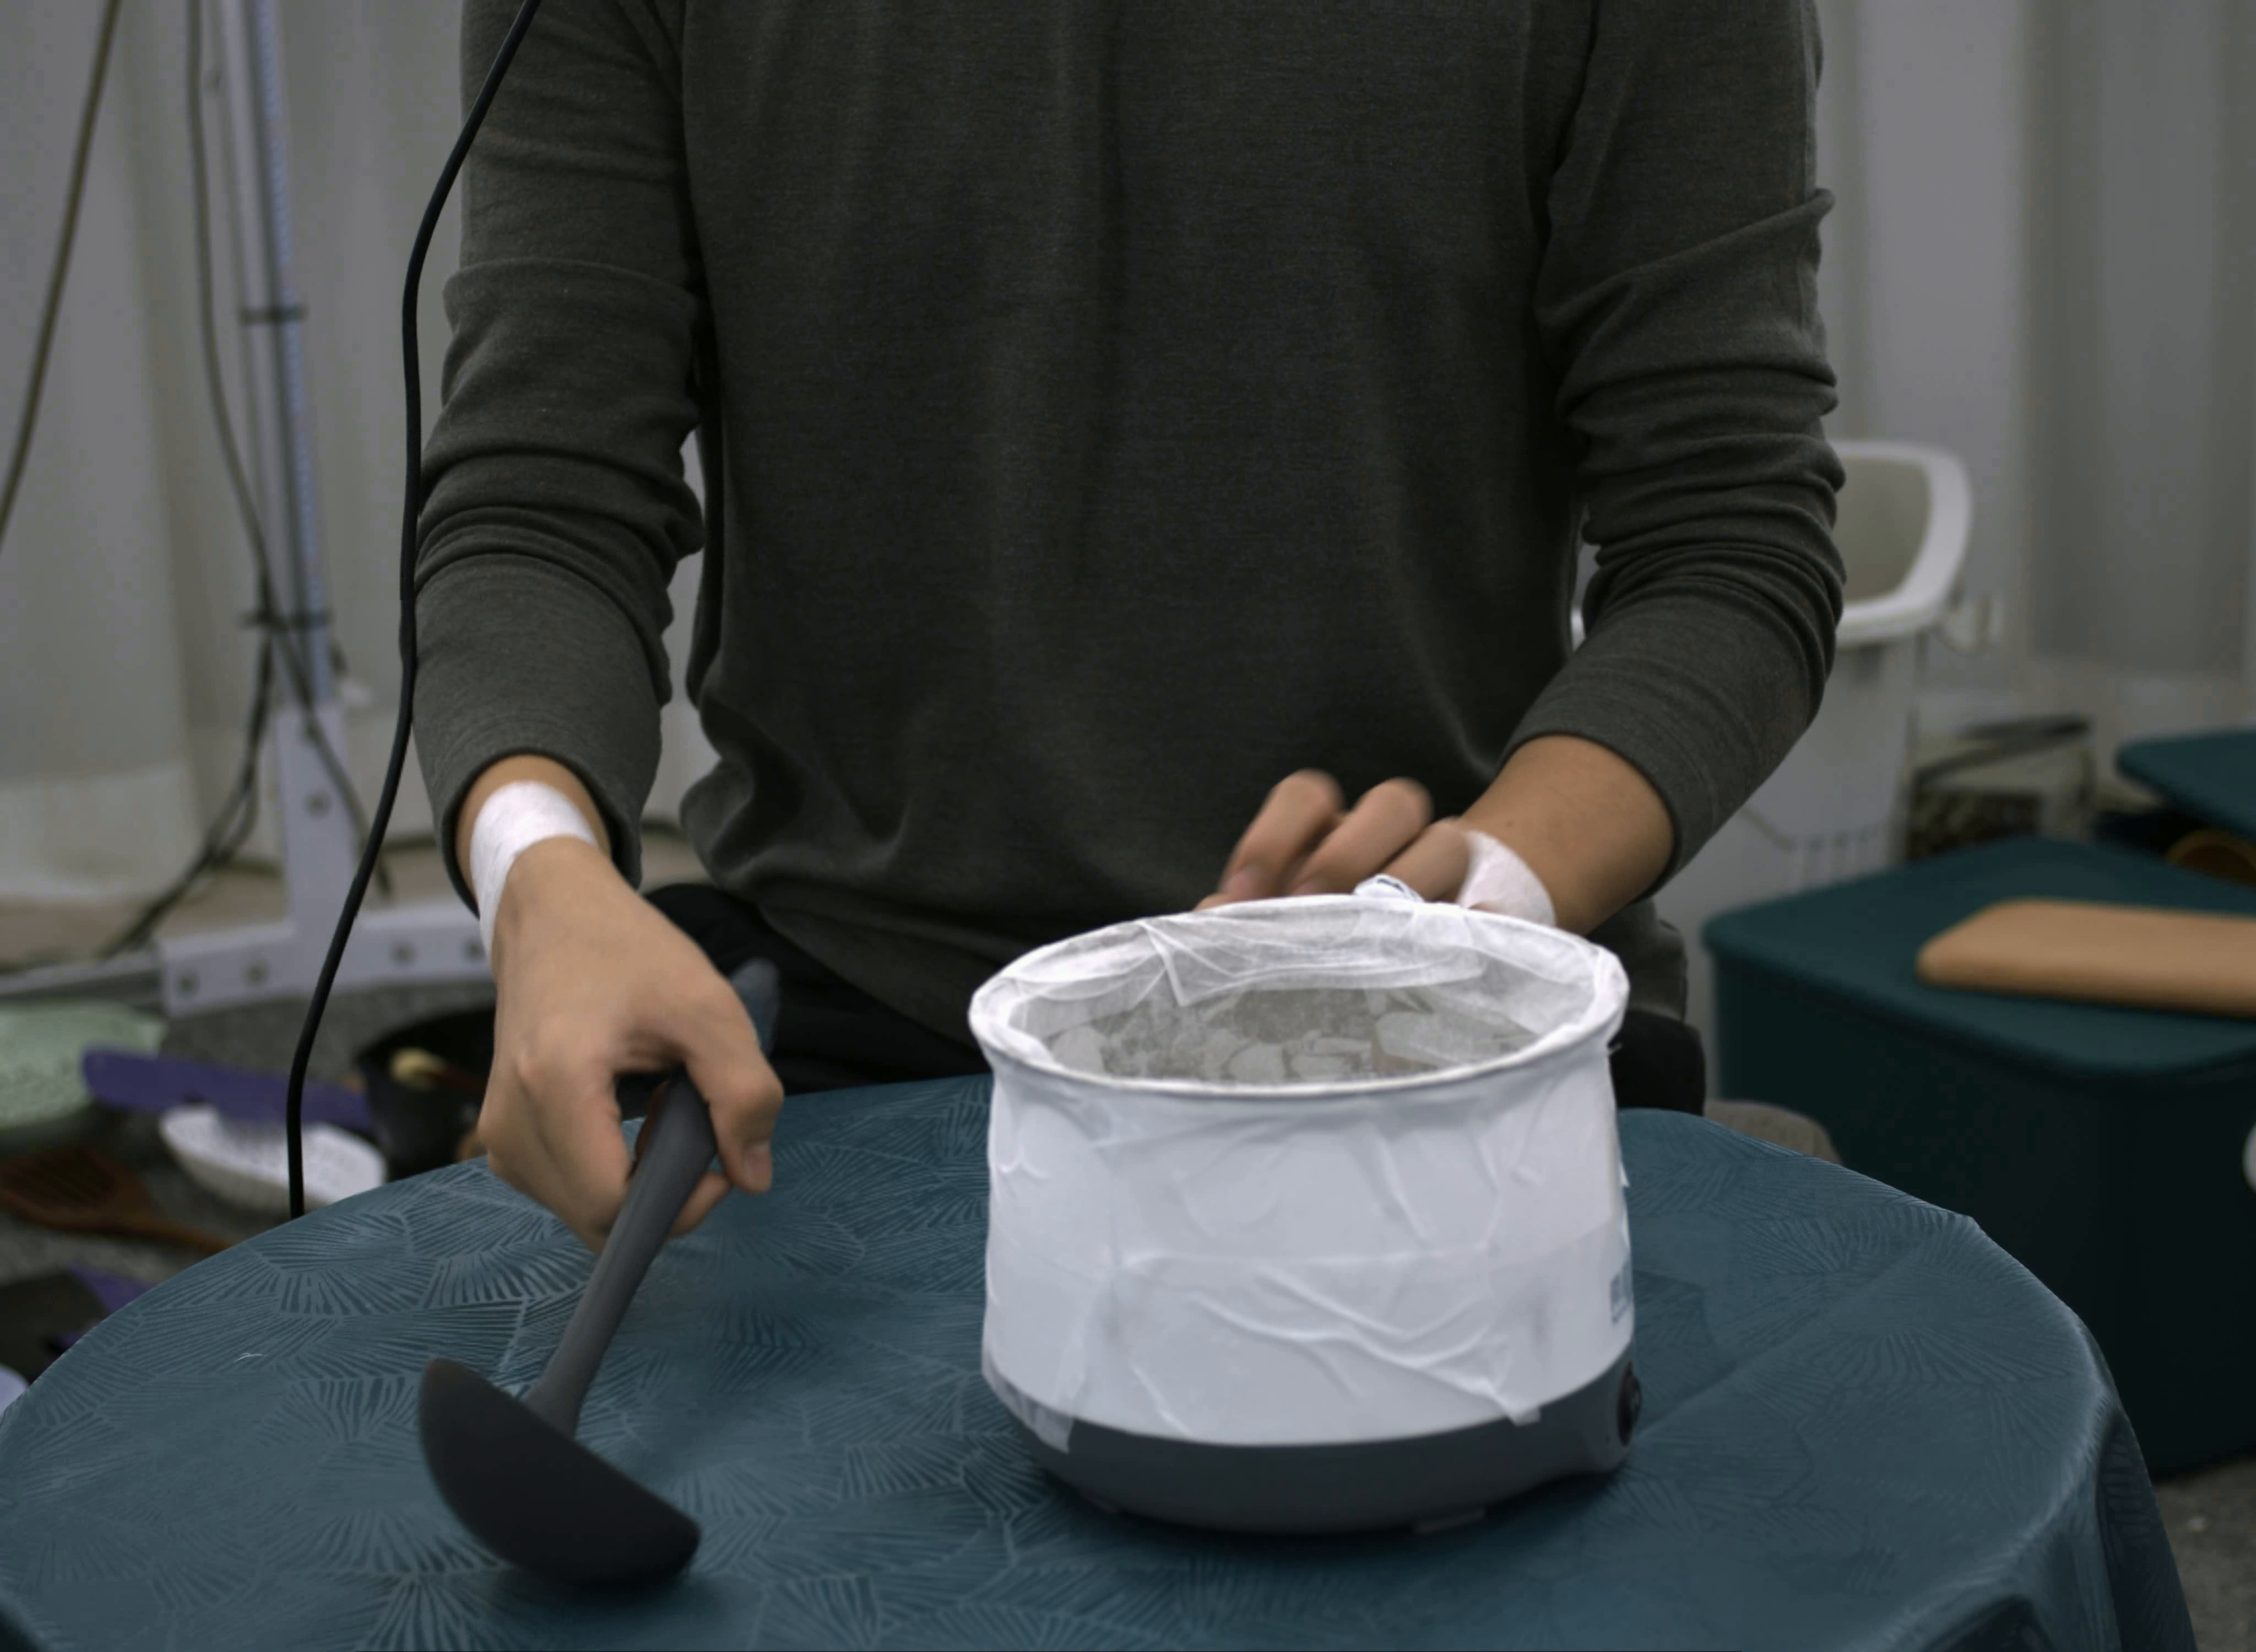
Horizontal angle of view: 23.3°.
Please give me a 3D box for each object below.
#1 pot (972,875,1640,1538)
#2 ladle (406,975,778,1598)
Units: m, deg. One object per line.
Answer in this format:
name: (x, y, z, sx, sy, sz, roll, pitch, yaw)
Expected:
pot: (0.056, 0.098, 1.505, 0.178, 0.136, 0.234, 1, 15, 15)
ladle: (-0.129, 0.110, 1.529, 0.063, 0.086, 0.317, -43, 12, 28)
